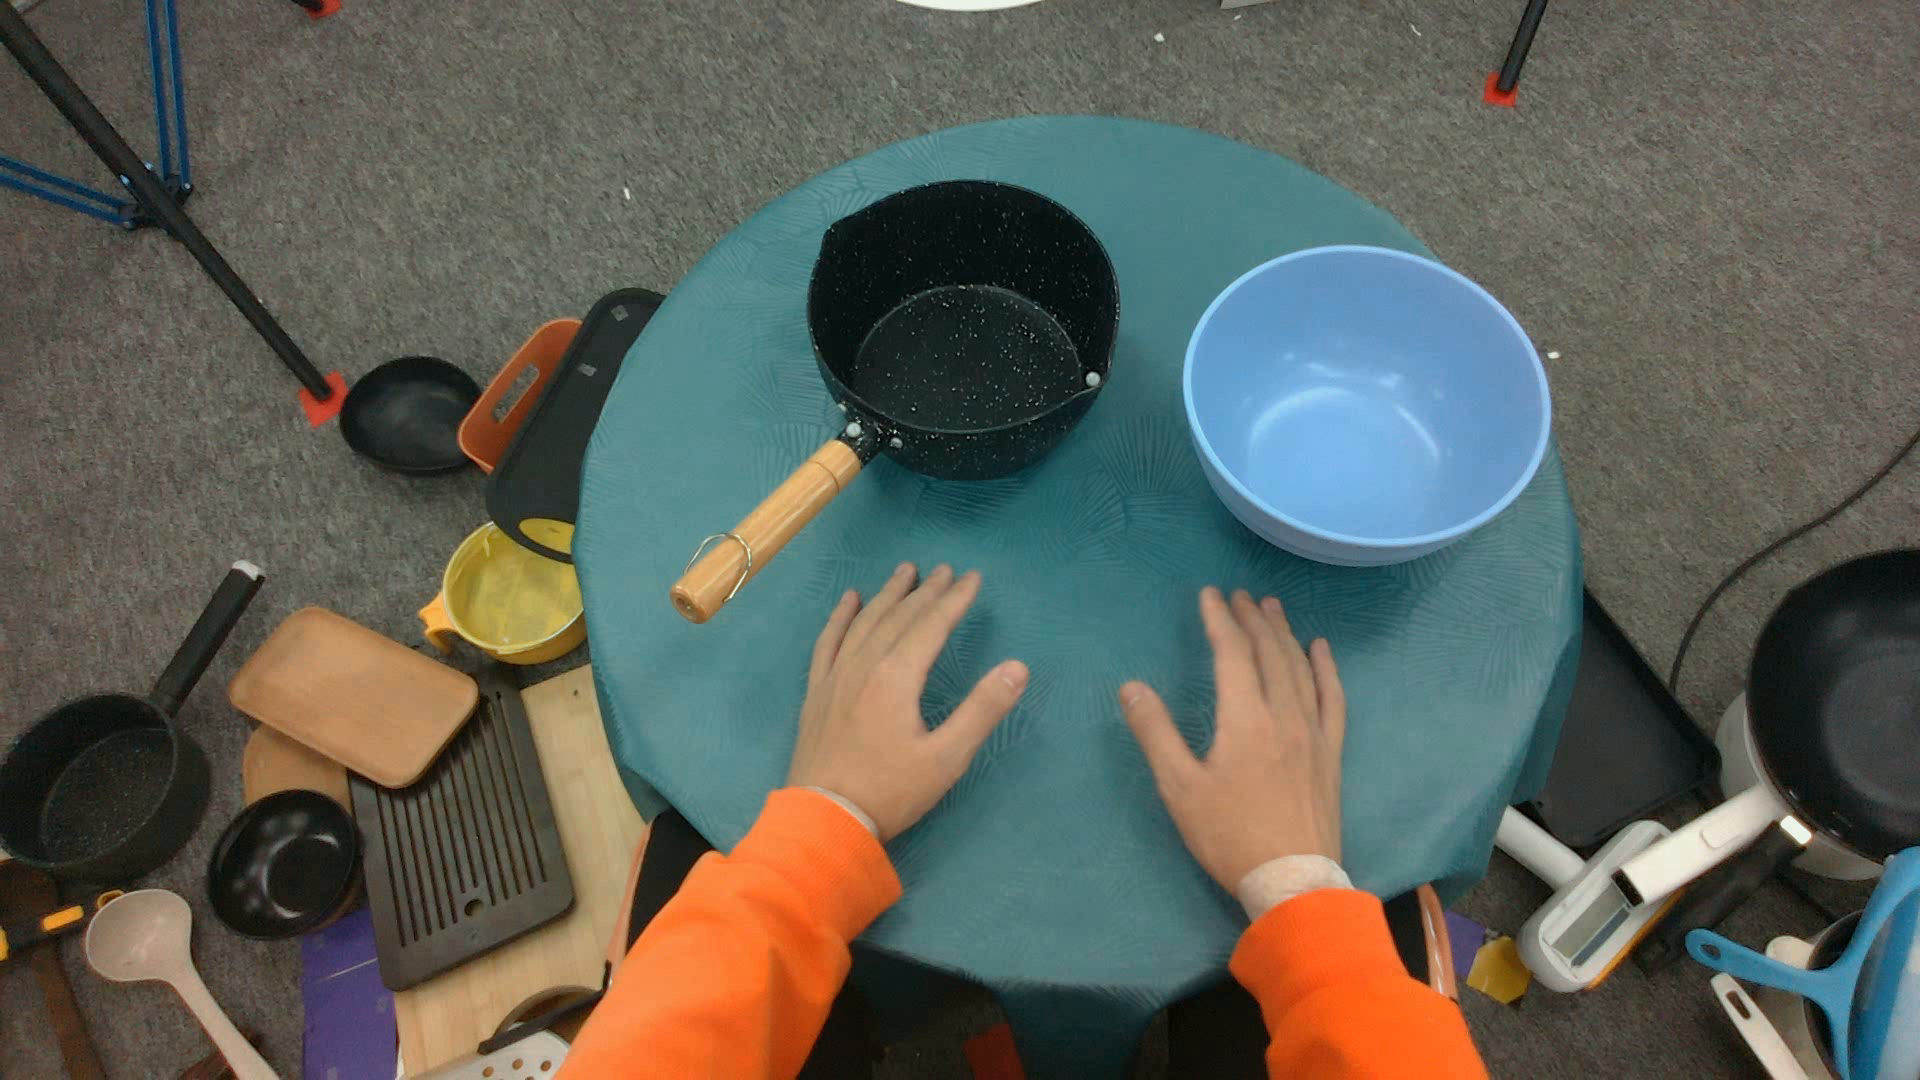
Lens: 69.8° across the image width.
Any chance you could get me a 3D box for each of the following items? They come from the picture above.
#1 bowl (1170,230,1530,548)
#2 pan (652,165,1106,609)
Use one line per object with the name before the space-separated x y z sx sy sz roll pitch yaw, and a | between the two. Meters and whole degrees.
bowl | 0.214 -0.073 0.797 0.196 0.095 0.197 0 62 0
pan | -0.050 -0.074 0.798 0.207 0.108 0.344 30 66 15
